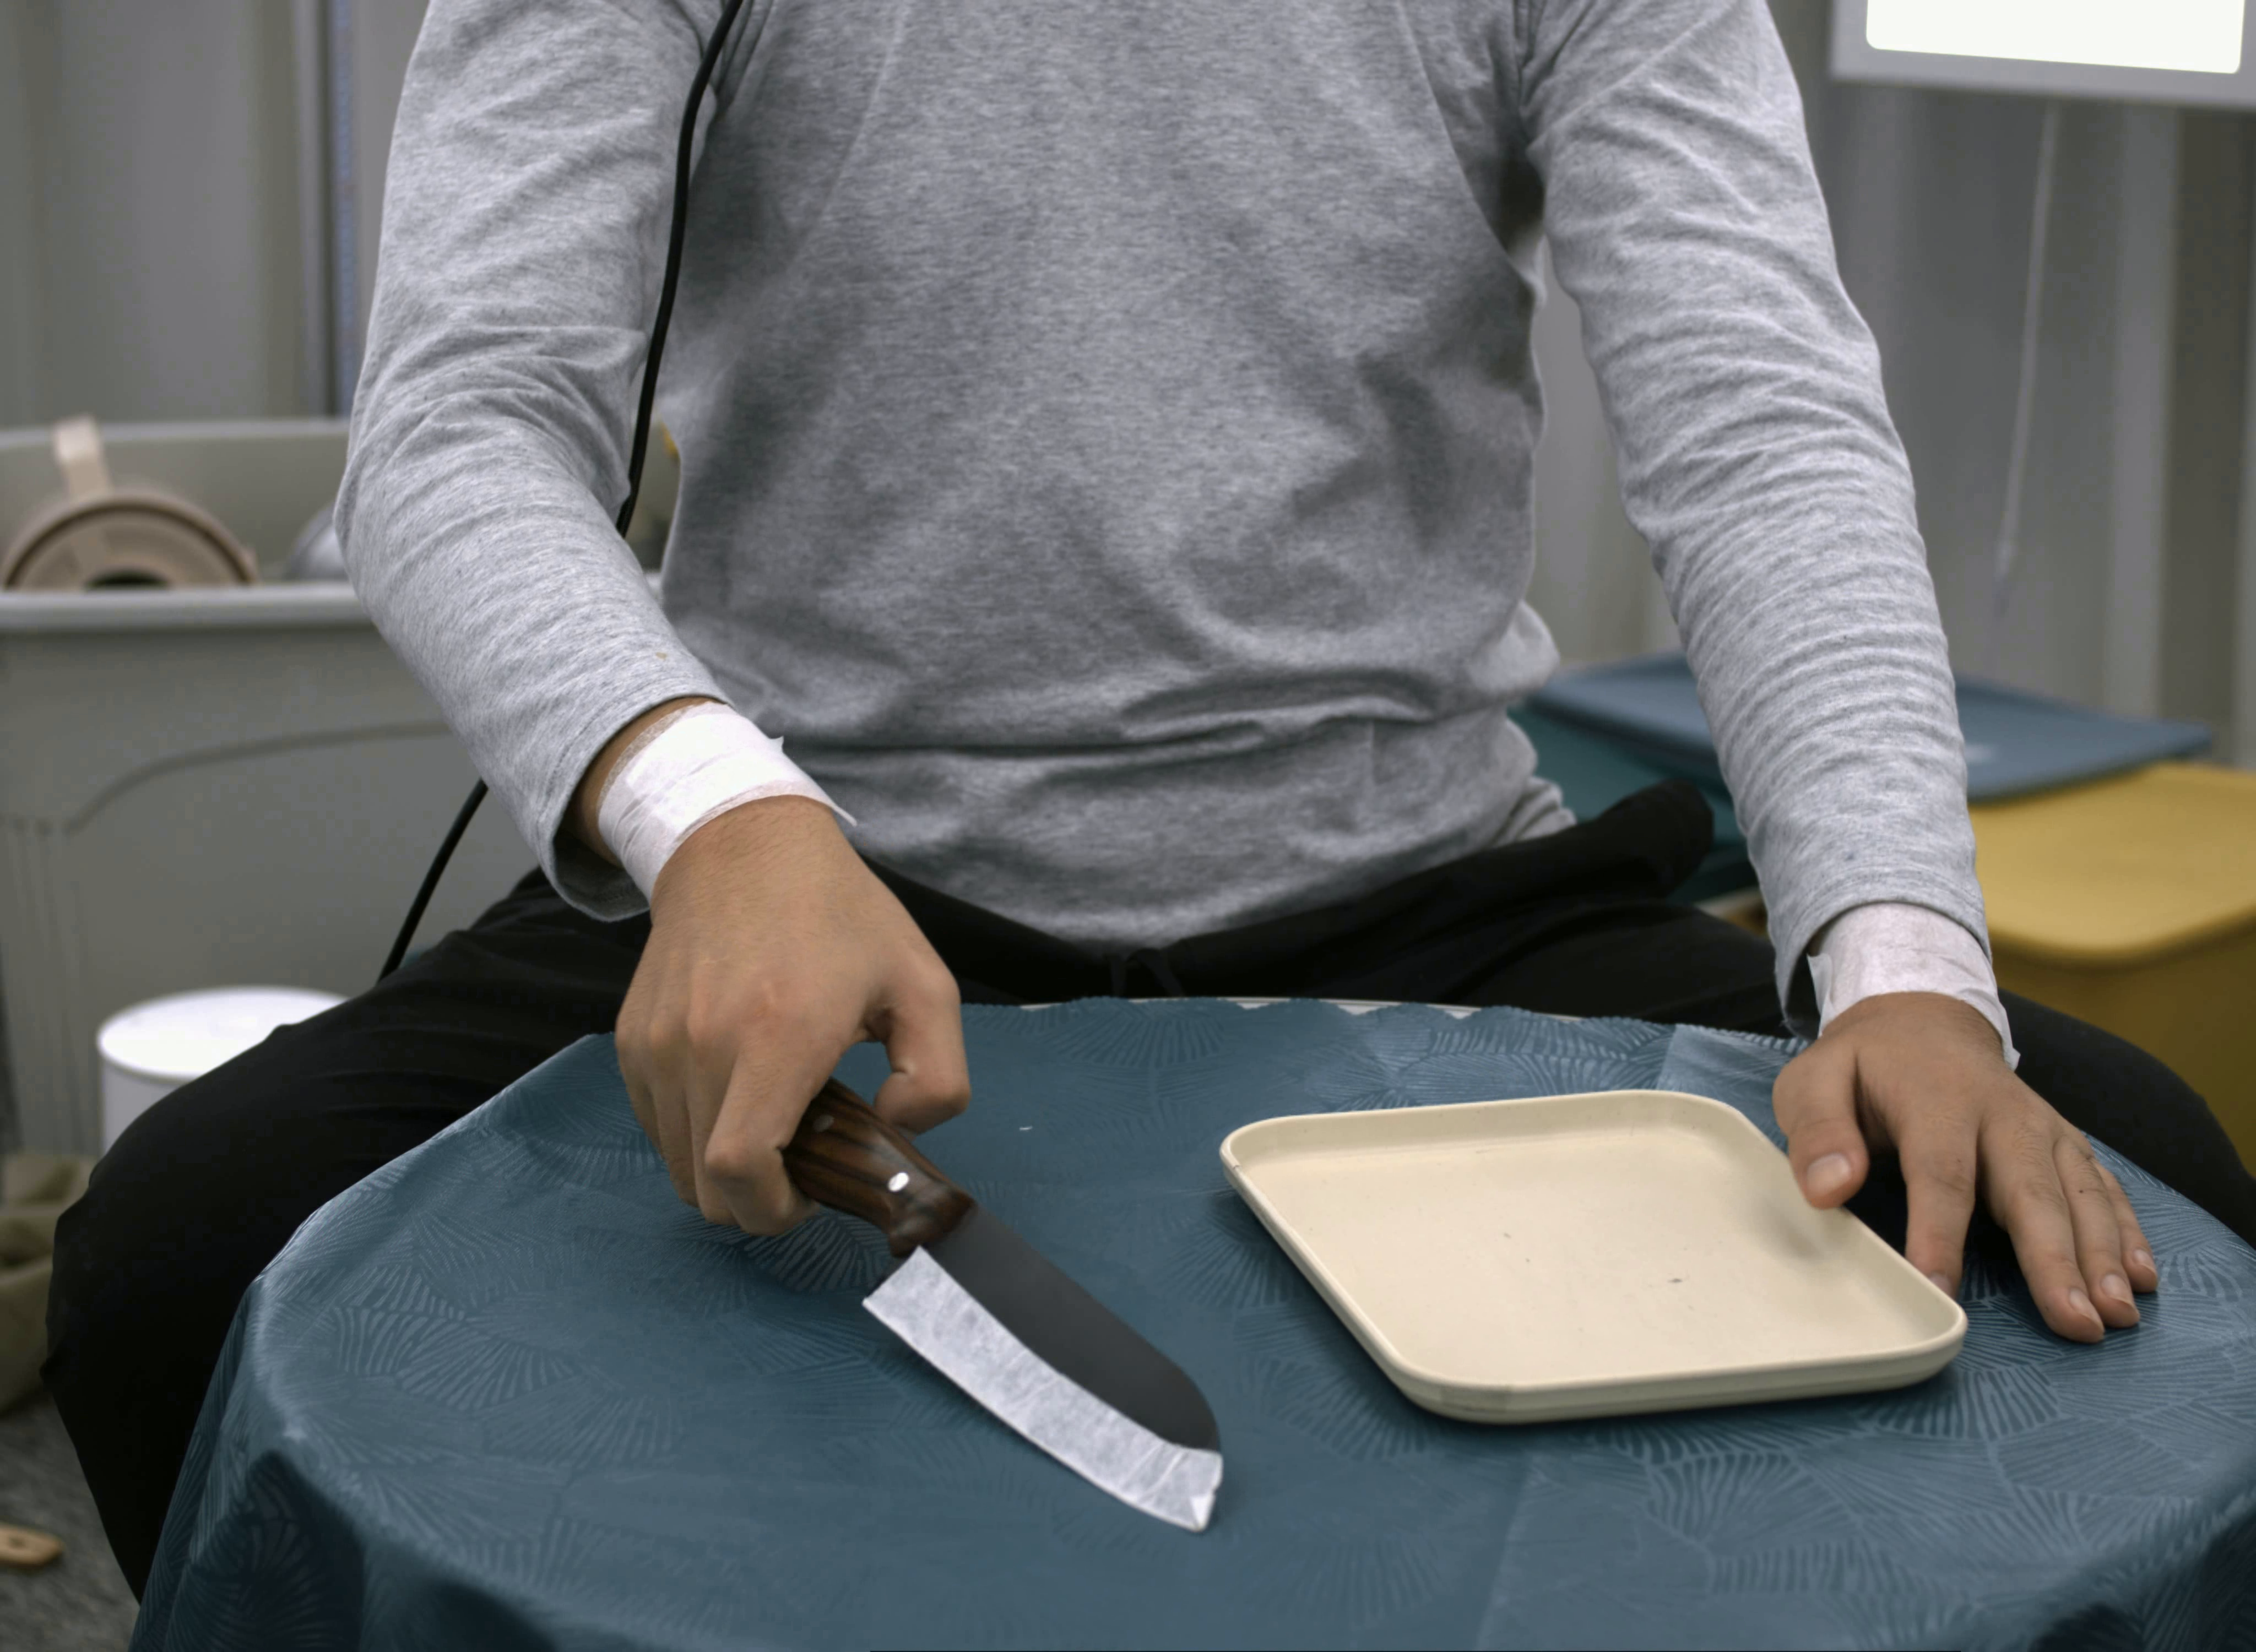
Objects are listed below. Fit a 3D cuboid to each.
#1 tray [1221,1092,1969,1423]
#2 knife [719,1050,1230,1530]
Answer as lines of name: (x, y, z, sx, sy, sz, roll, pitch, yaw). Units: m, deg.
tray: (0.132, 0.125, 1.551, 0.171, 0.017, 0.237, -3, 15, -14)
knife: (-0.046, 0.127, 1.478, 0.050, 0.020, 0.285, -42, 37, -8)
